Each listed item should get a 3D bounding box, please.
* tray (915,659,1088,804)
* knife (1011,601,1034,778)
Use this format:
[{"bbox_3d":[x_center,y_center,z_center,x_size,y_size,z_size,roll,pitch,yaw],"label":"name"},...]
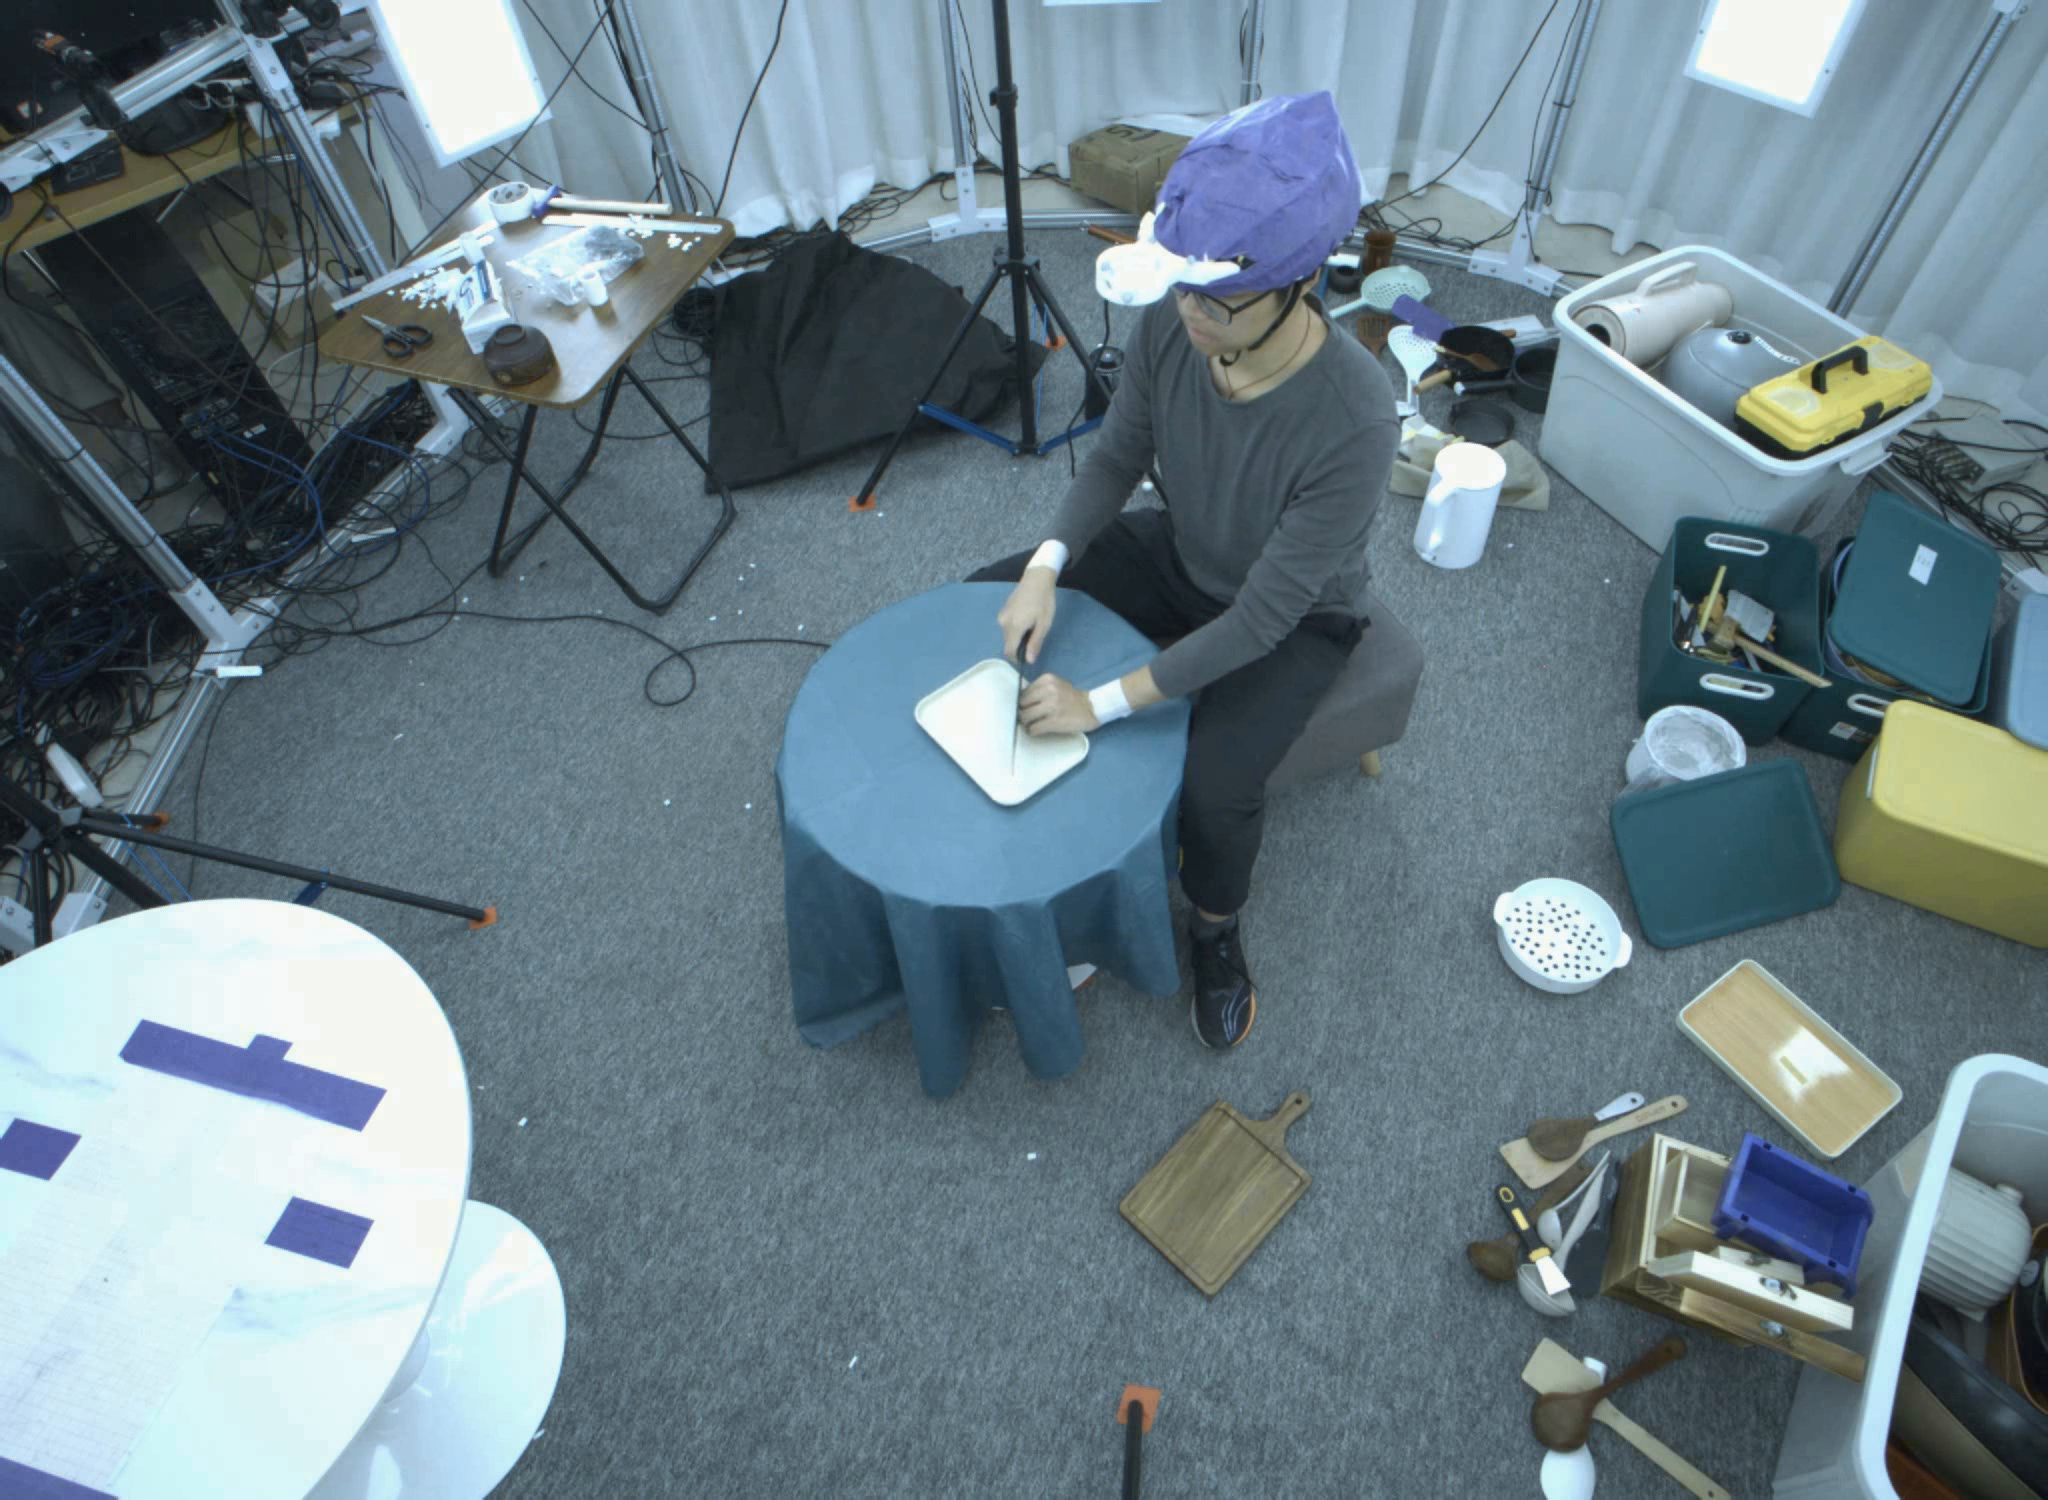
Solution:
[{"bbox_3d":[-0.034,-0.028,1.805,0.172,0.017,0.235,-34,60,-22],"label":"tray"},{"bbox_3d":[-0.006,-0.098,1.802,0.021,0.081,0.300,4,58,2],"label":"knife"}]
